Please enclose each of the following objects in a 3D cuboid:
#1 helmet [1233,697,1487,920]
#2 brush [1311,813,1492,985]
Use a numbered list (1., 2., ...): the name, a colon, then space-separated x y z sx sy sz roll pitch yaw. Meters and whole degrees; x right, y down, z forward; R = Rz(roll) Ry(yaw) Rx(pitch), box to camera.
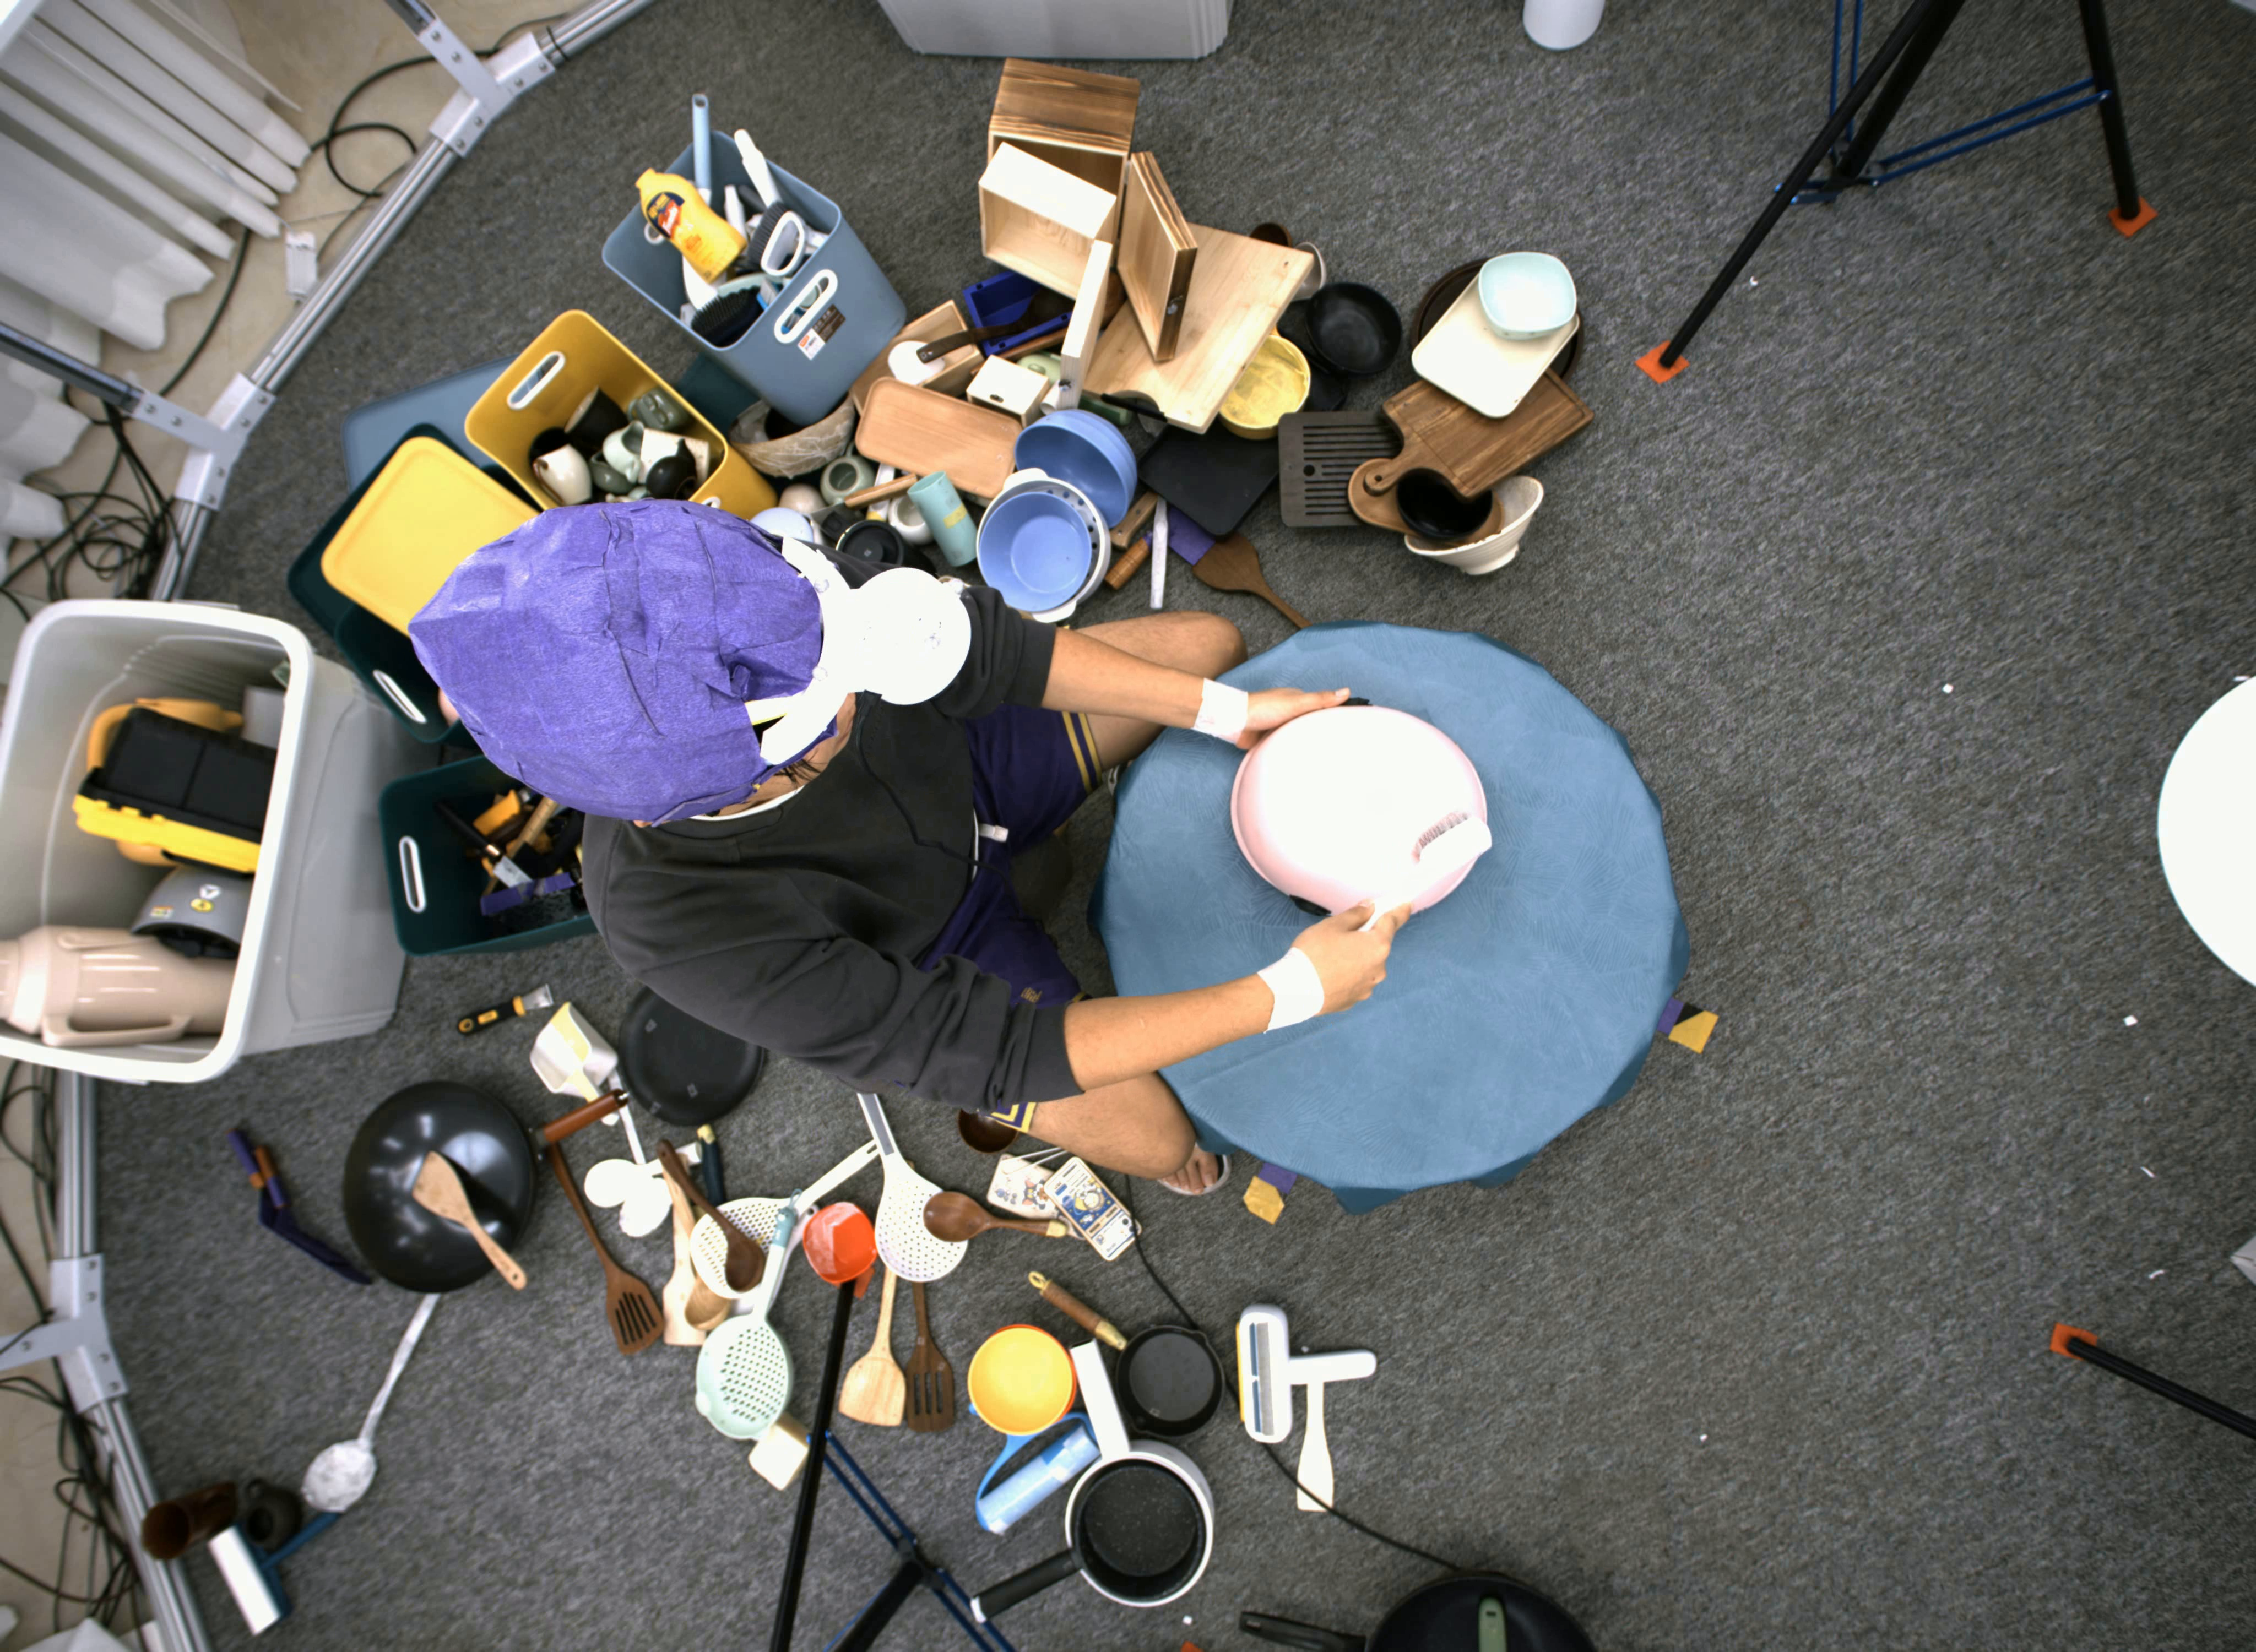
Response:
1. helmet: 0.227 -0.019 1.389 0.266 0.158 0.234 11 92 14
2. brush: 0.244 0.063 1.268 0.240 0.050 0.035 -37 110 -19
